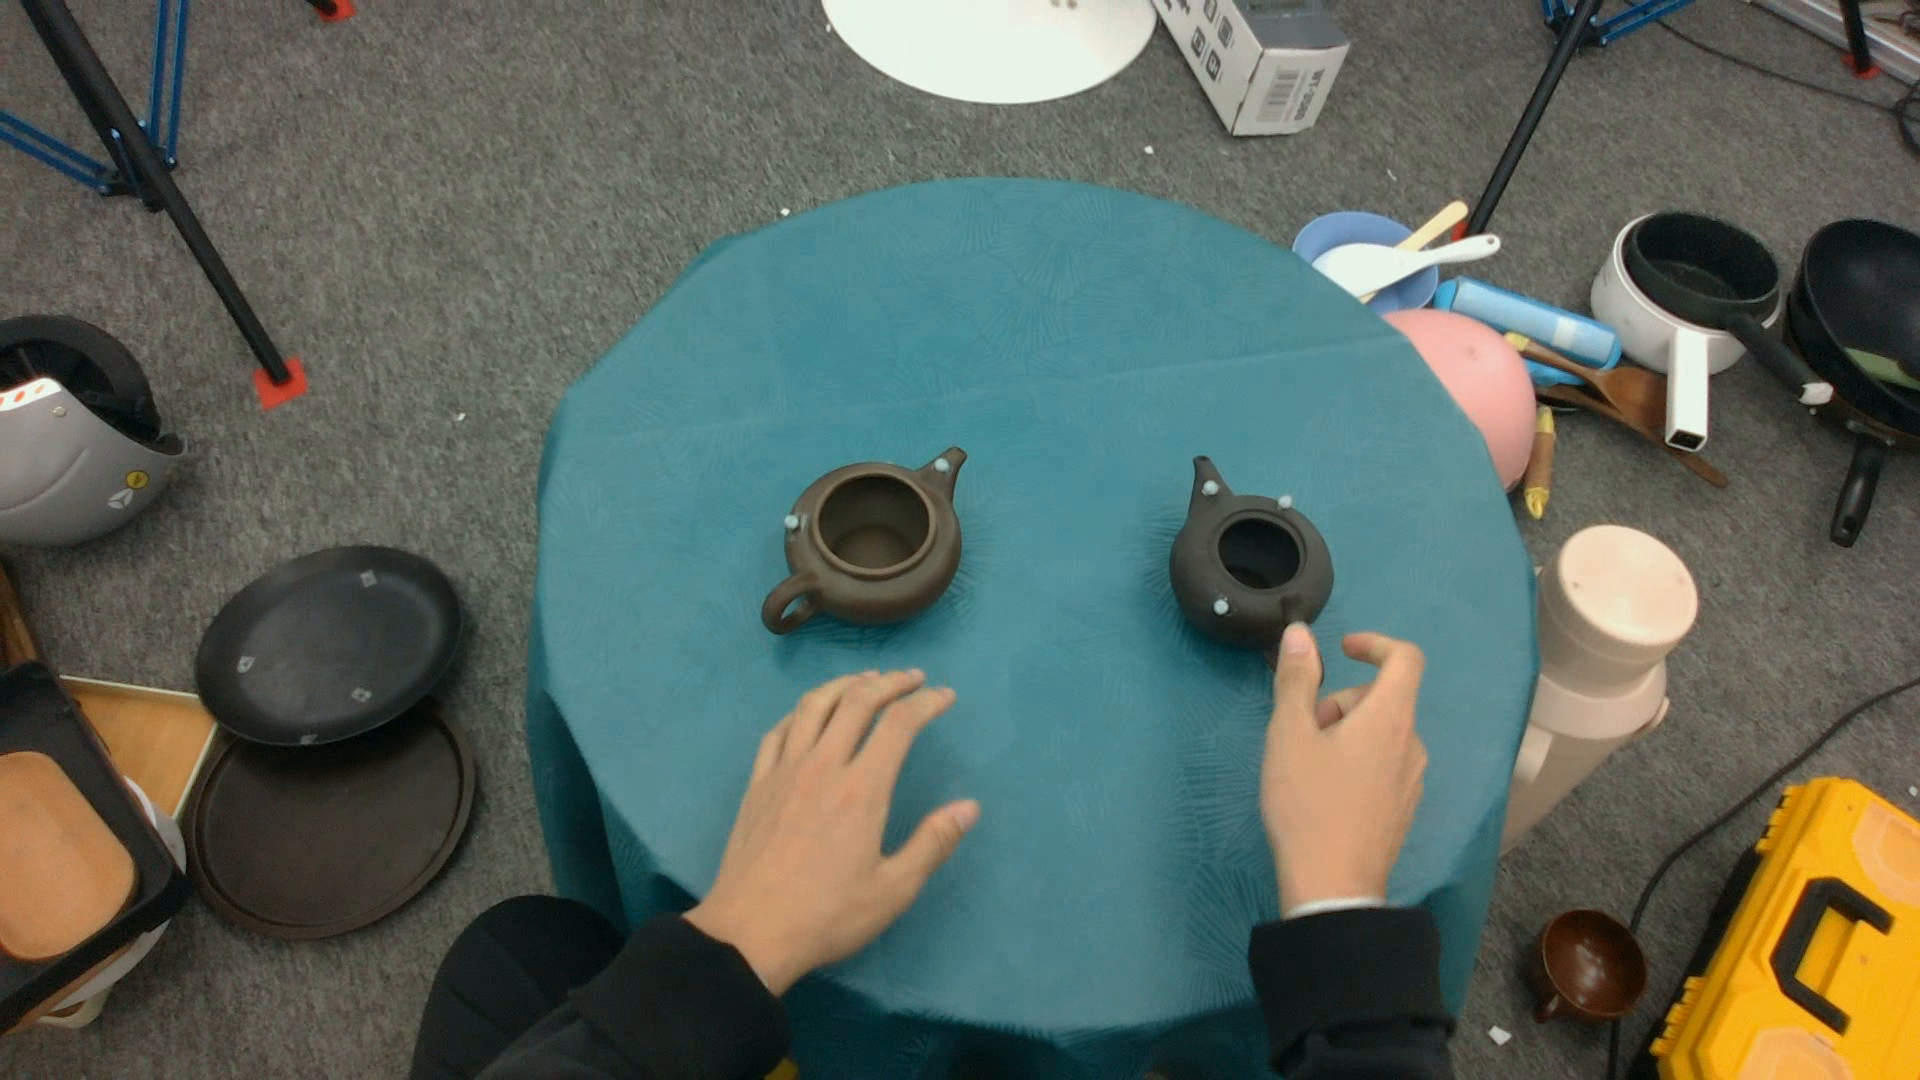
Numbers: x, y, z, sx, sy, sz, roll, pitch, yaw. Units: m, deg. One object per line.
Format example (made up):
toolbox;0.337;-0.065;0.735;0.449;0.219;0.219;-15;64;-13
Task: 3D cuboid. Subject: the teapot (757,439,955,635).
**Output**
teapot;-0.057;0.001;0.786;0.102;0.053;0.154;35;60;19

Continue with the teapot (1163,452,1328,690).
teapot;0.164;0.019;0.790;0.092;0.064;0.154;-16;59;-13
